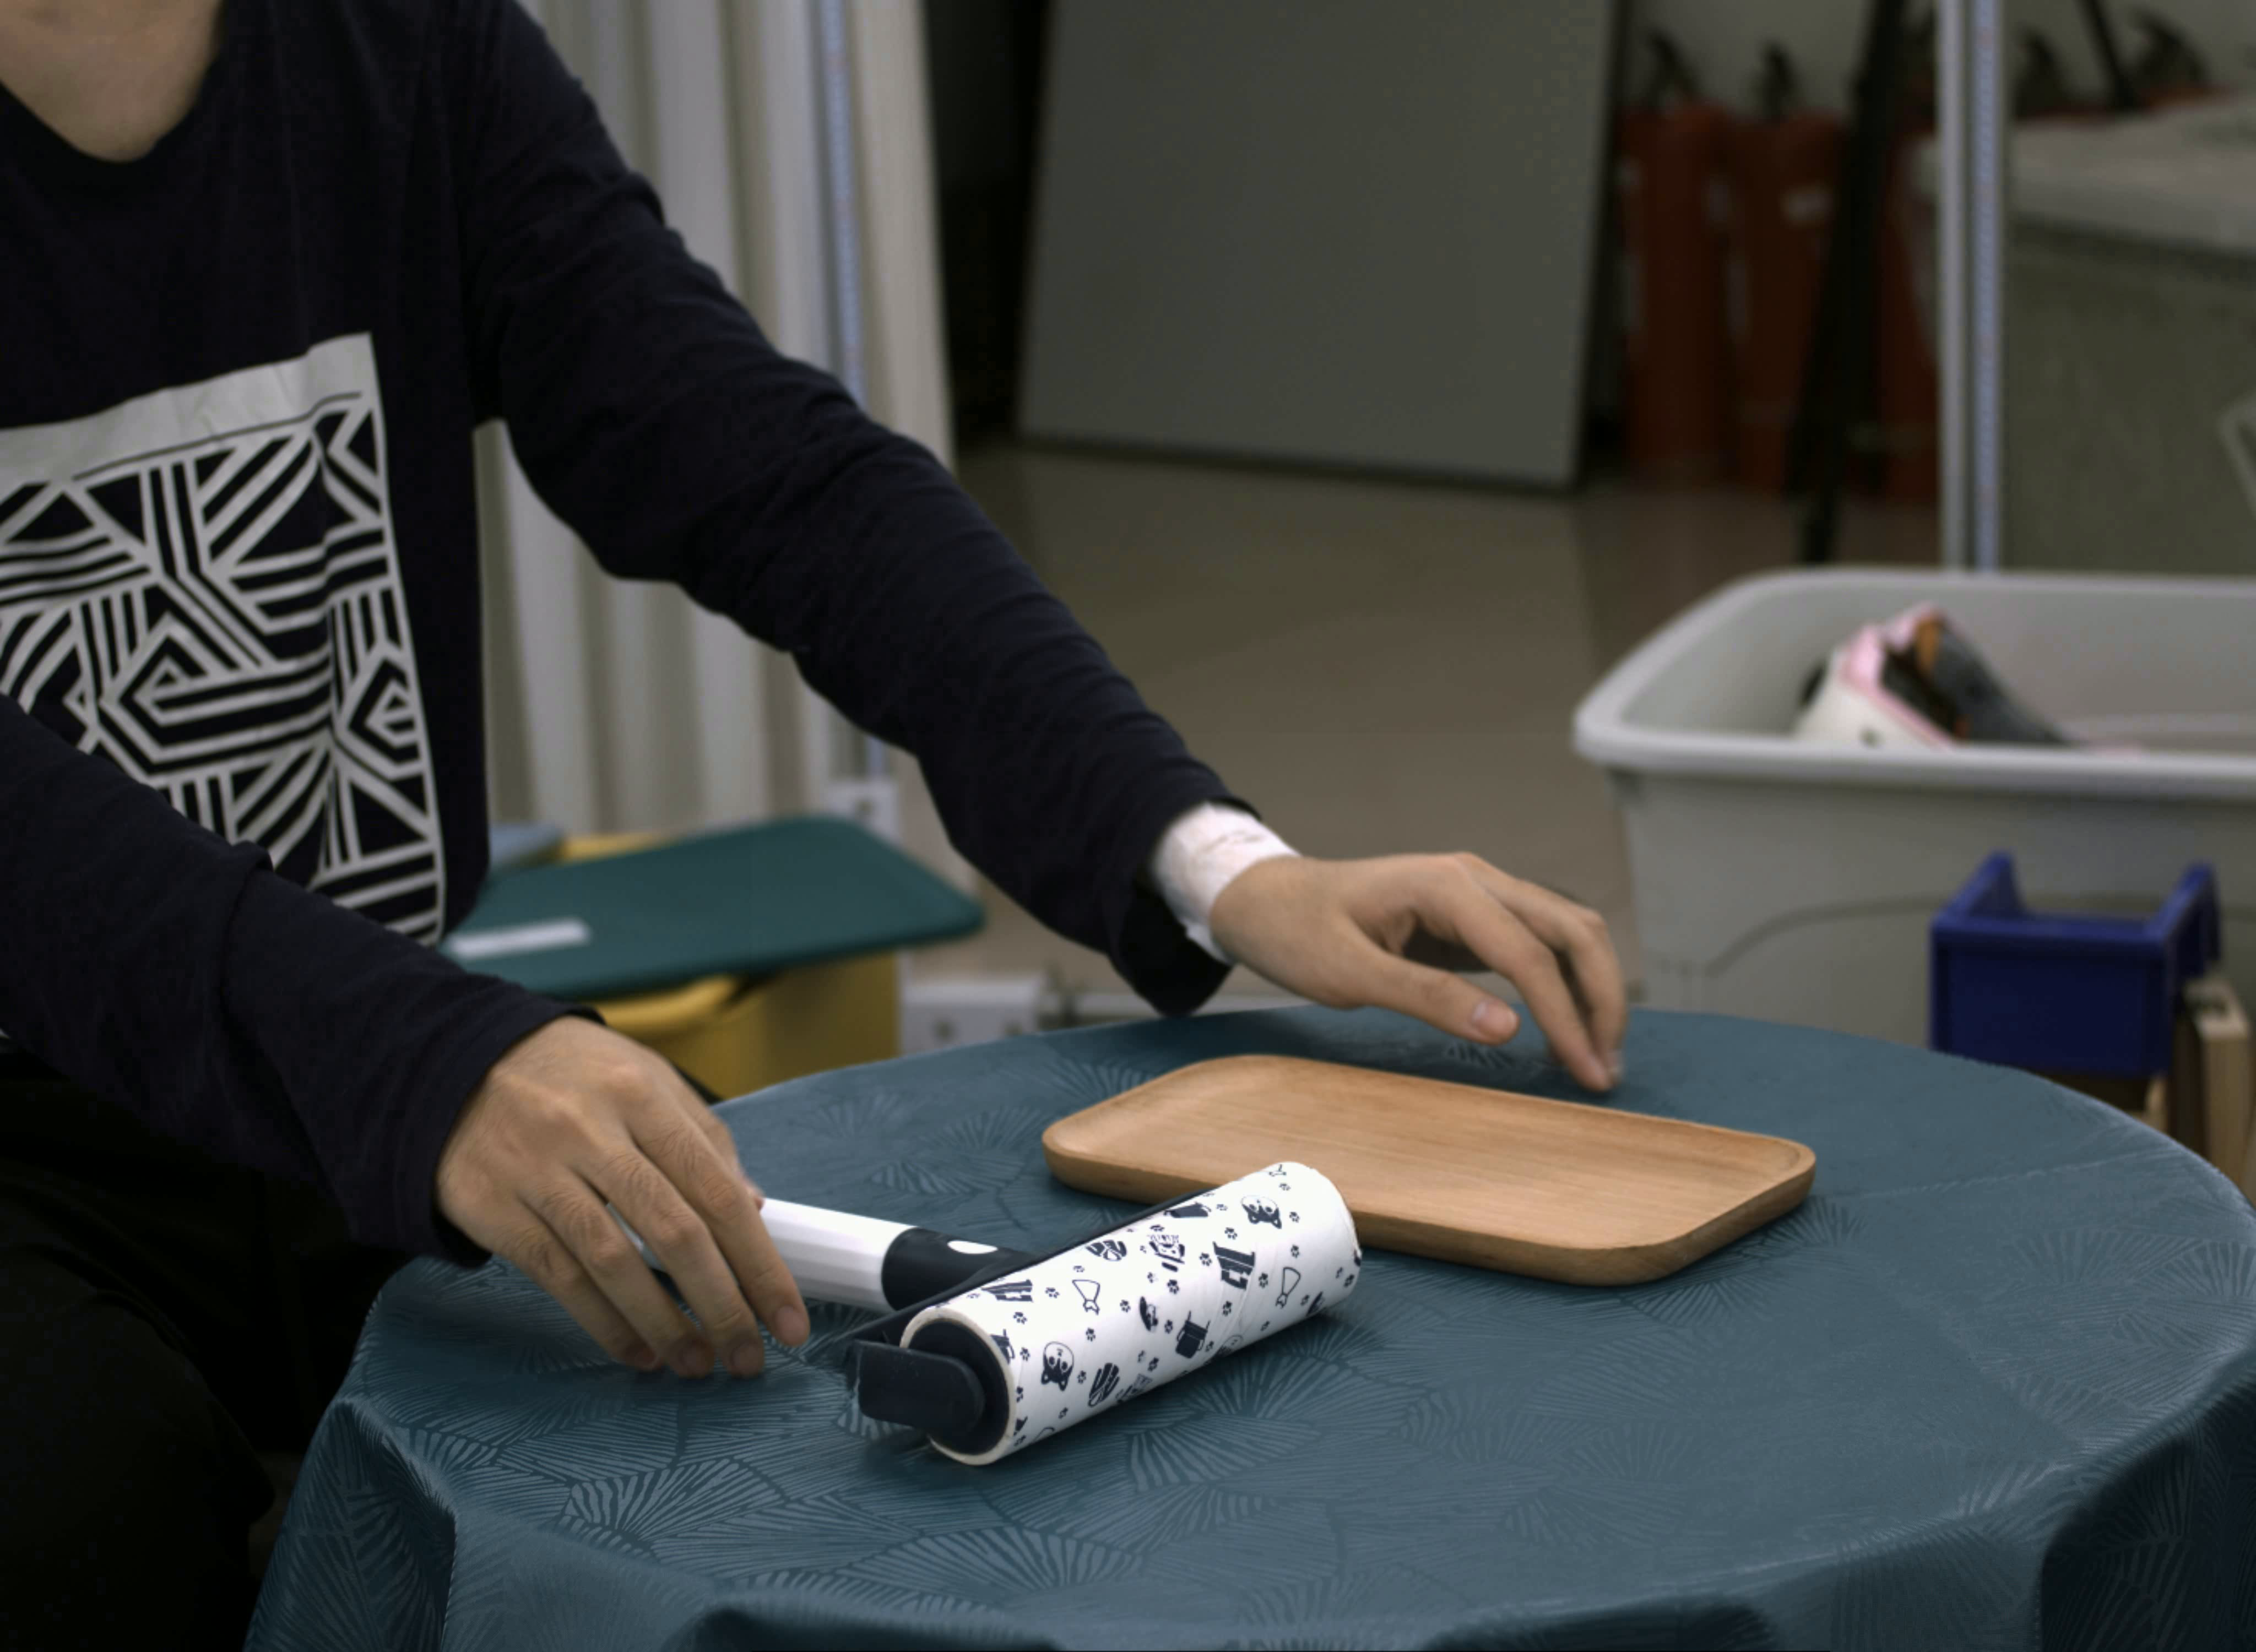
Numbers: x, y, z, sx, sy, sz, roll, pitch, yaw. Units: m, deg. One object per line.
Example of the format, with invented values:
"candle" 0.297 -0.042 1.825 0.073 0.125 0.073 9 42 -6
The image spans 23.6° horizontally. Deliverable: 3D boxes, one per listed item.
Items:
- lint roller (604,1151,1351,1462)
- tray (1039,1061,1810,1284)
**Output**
"lint roller" -0.074 0.136 1.654 0.249 0.051 0.173 4 16 42
"tray" 0.094 0.111 1.755 0.253 0.023 0.128 6 14 41
